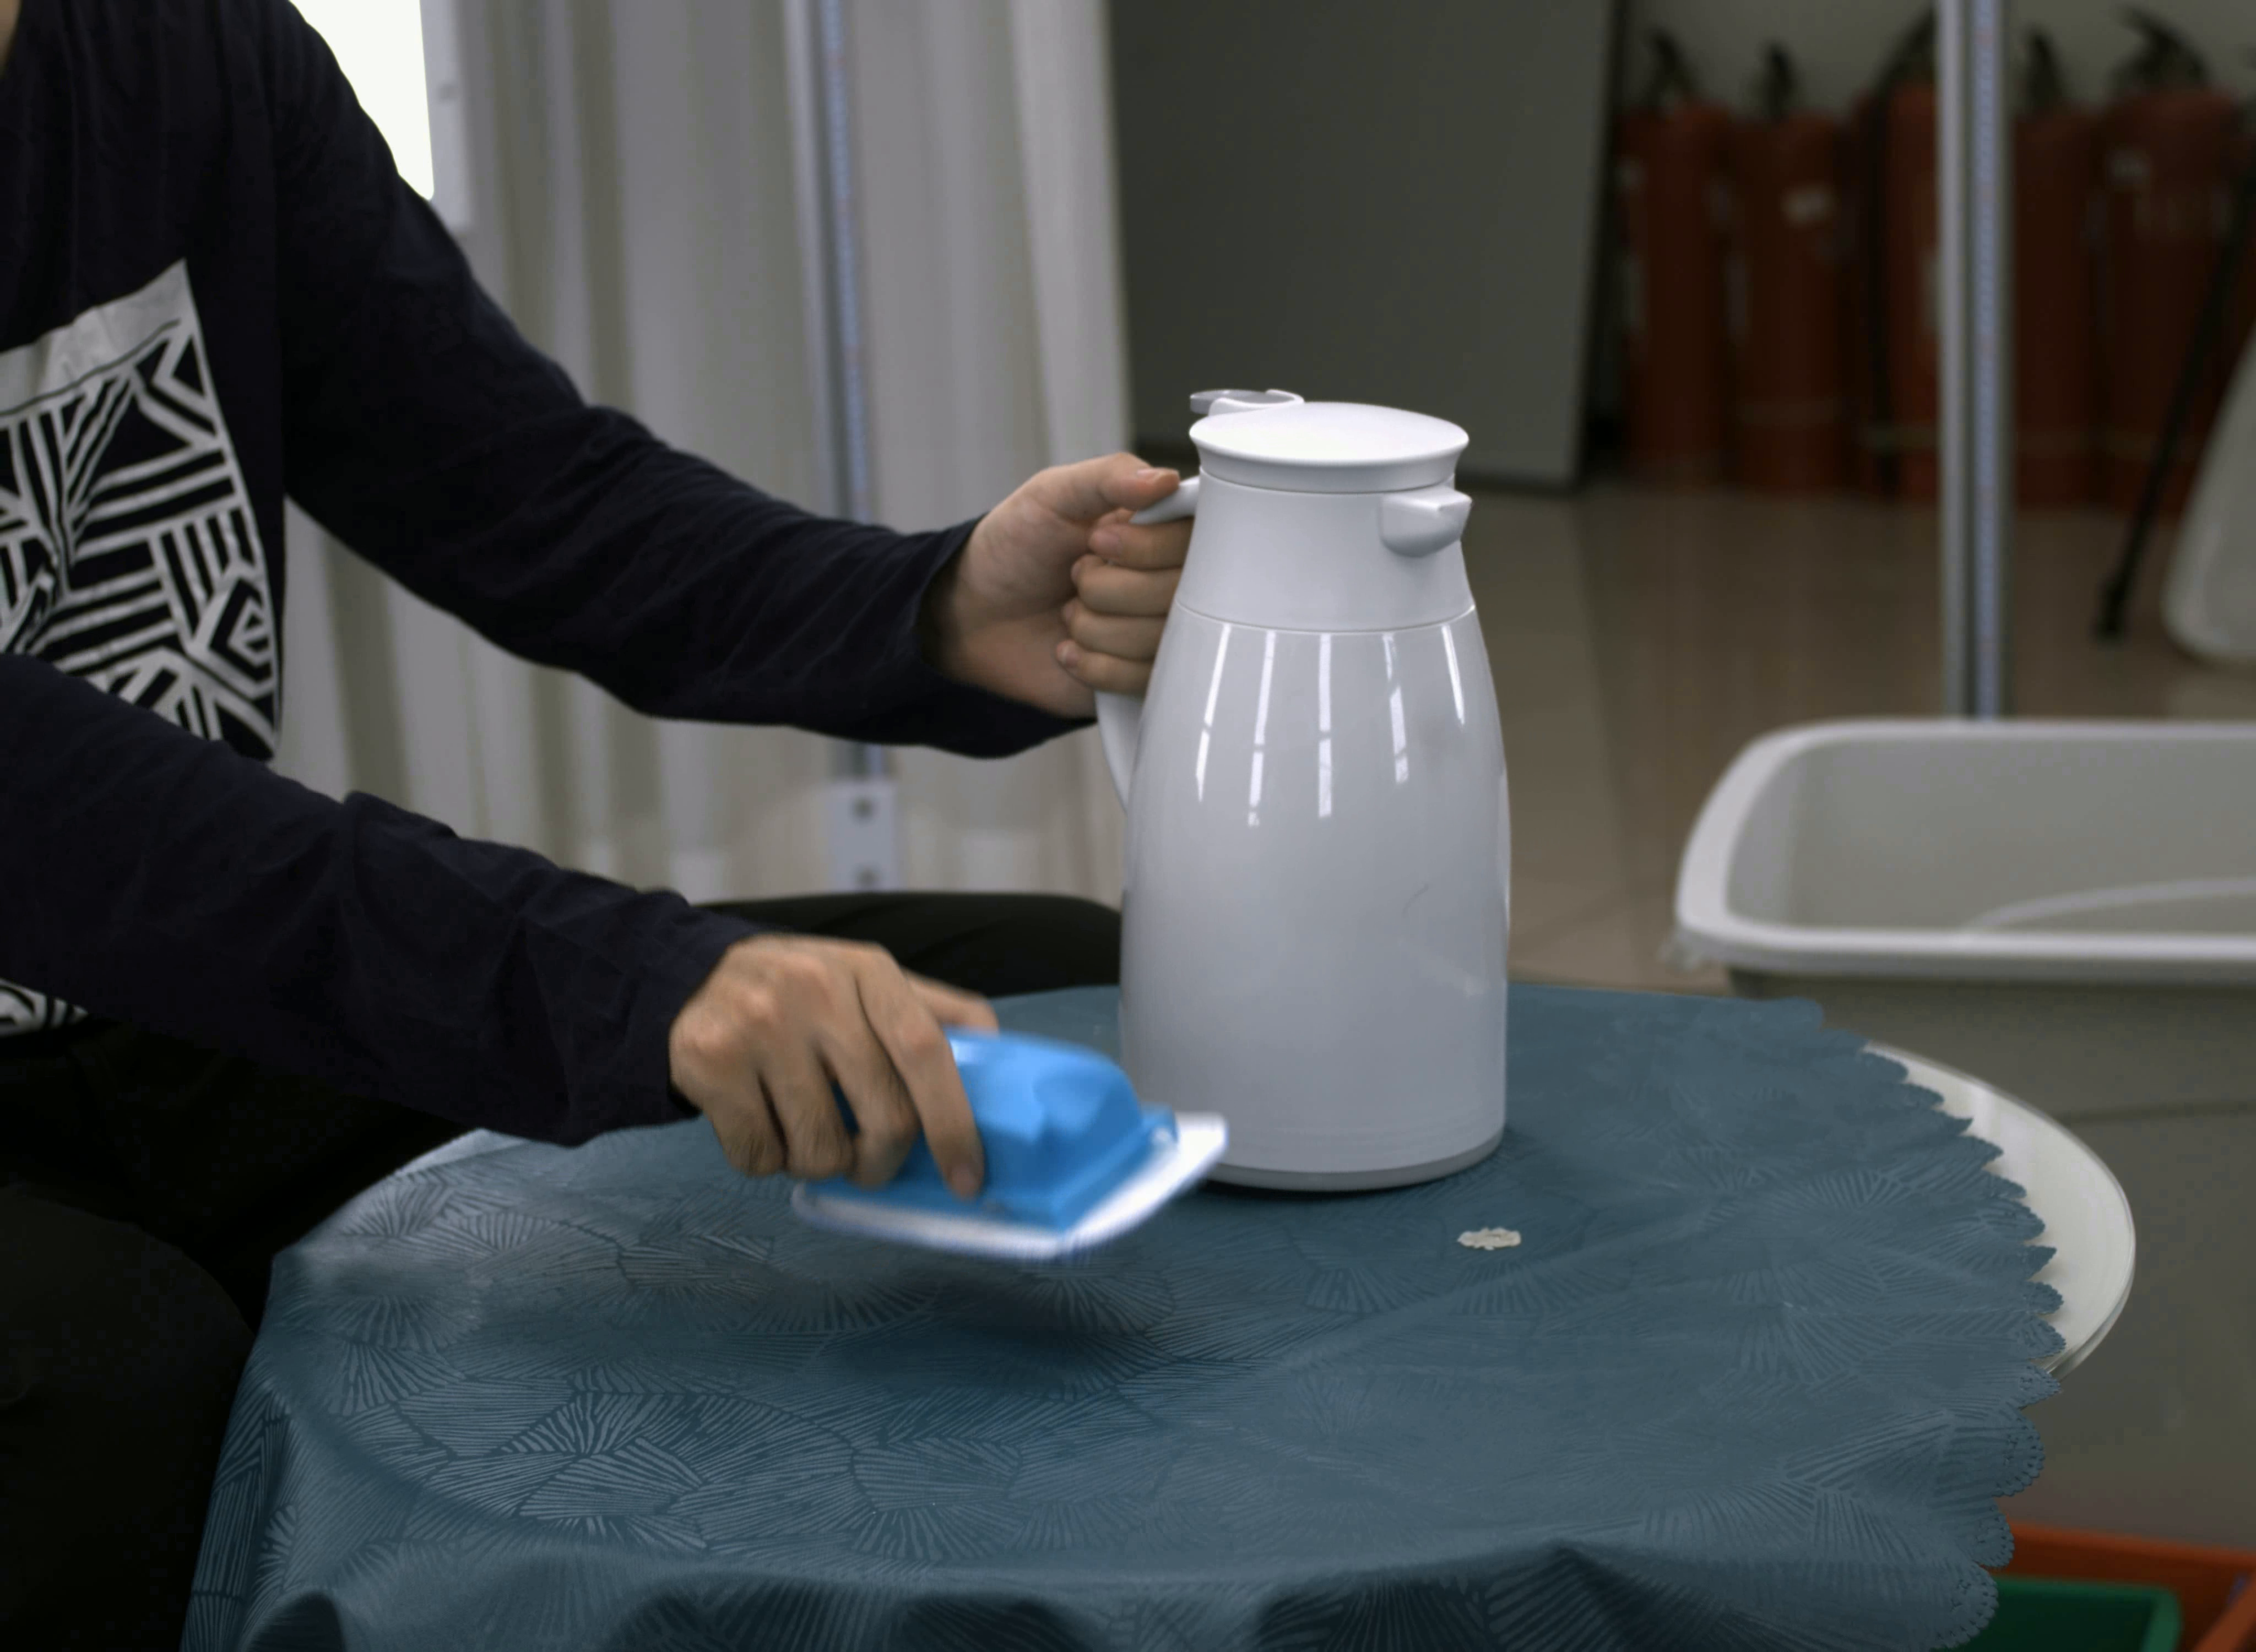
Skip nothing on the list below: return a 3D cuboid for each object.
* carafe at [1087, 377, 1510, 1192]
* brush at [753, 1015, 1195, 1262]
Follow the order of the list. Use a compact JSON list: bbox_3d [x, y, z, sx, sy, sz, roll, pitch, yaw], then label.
[{"bbox_3d":[0.049,-0.021,1.792,0.129,0.251,0.169,-13,18,-42],"label":"carafe"},{"bbox_3d":[-0.050,0.093,1.653,0.082,0.056,0.145,-28,24,-35],"label":"brush"}]
